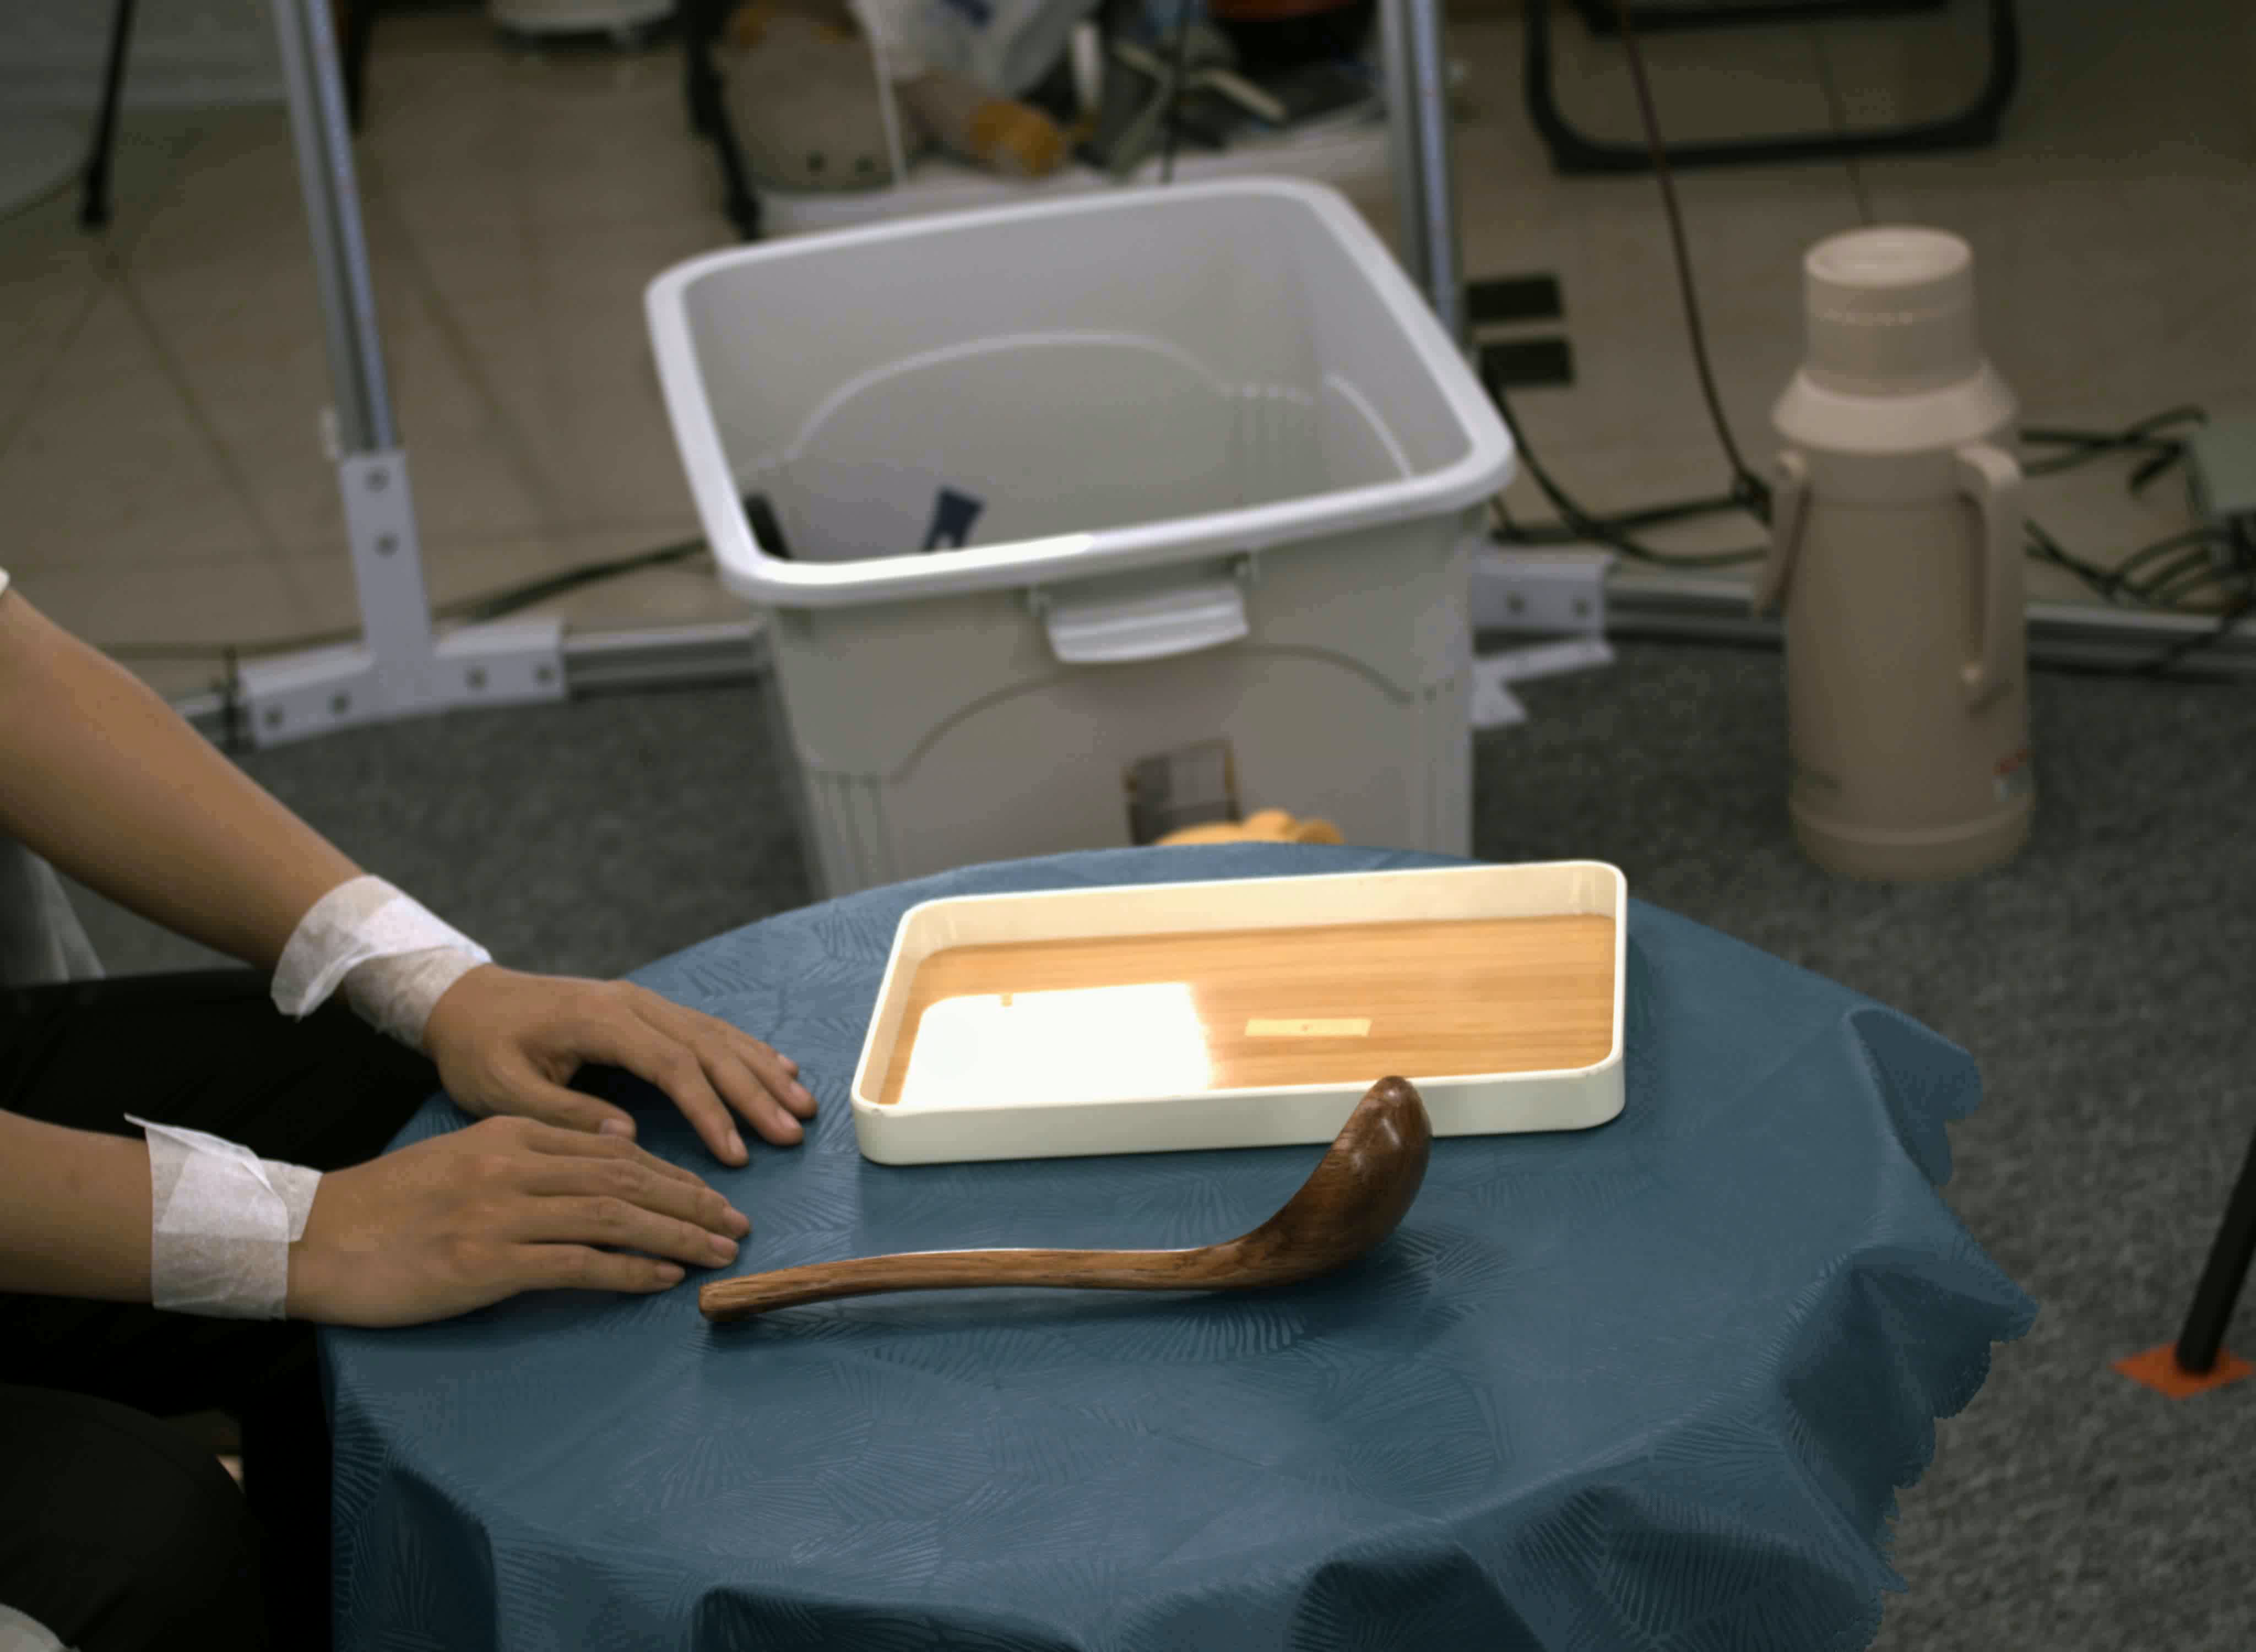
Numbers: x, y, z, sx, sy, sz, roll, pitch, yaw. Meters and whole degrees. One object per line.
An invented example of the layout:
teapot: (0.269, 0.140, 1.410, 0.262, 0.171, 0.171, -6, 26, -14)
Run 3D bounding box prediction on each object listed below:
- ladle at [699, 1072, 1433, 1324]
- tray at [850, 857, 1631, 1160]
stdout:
ladle: (-0.024, 0.136, 2.079, 0.273, 0.076, 0.082, -4, -13, 8)
tray: (0.048, 0.071, 2.250, 0.300, 0.028, 0.189, -3, 25, 8)
